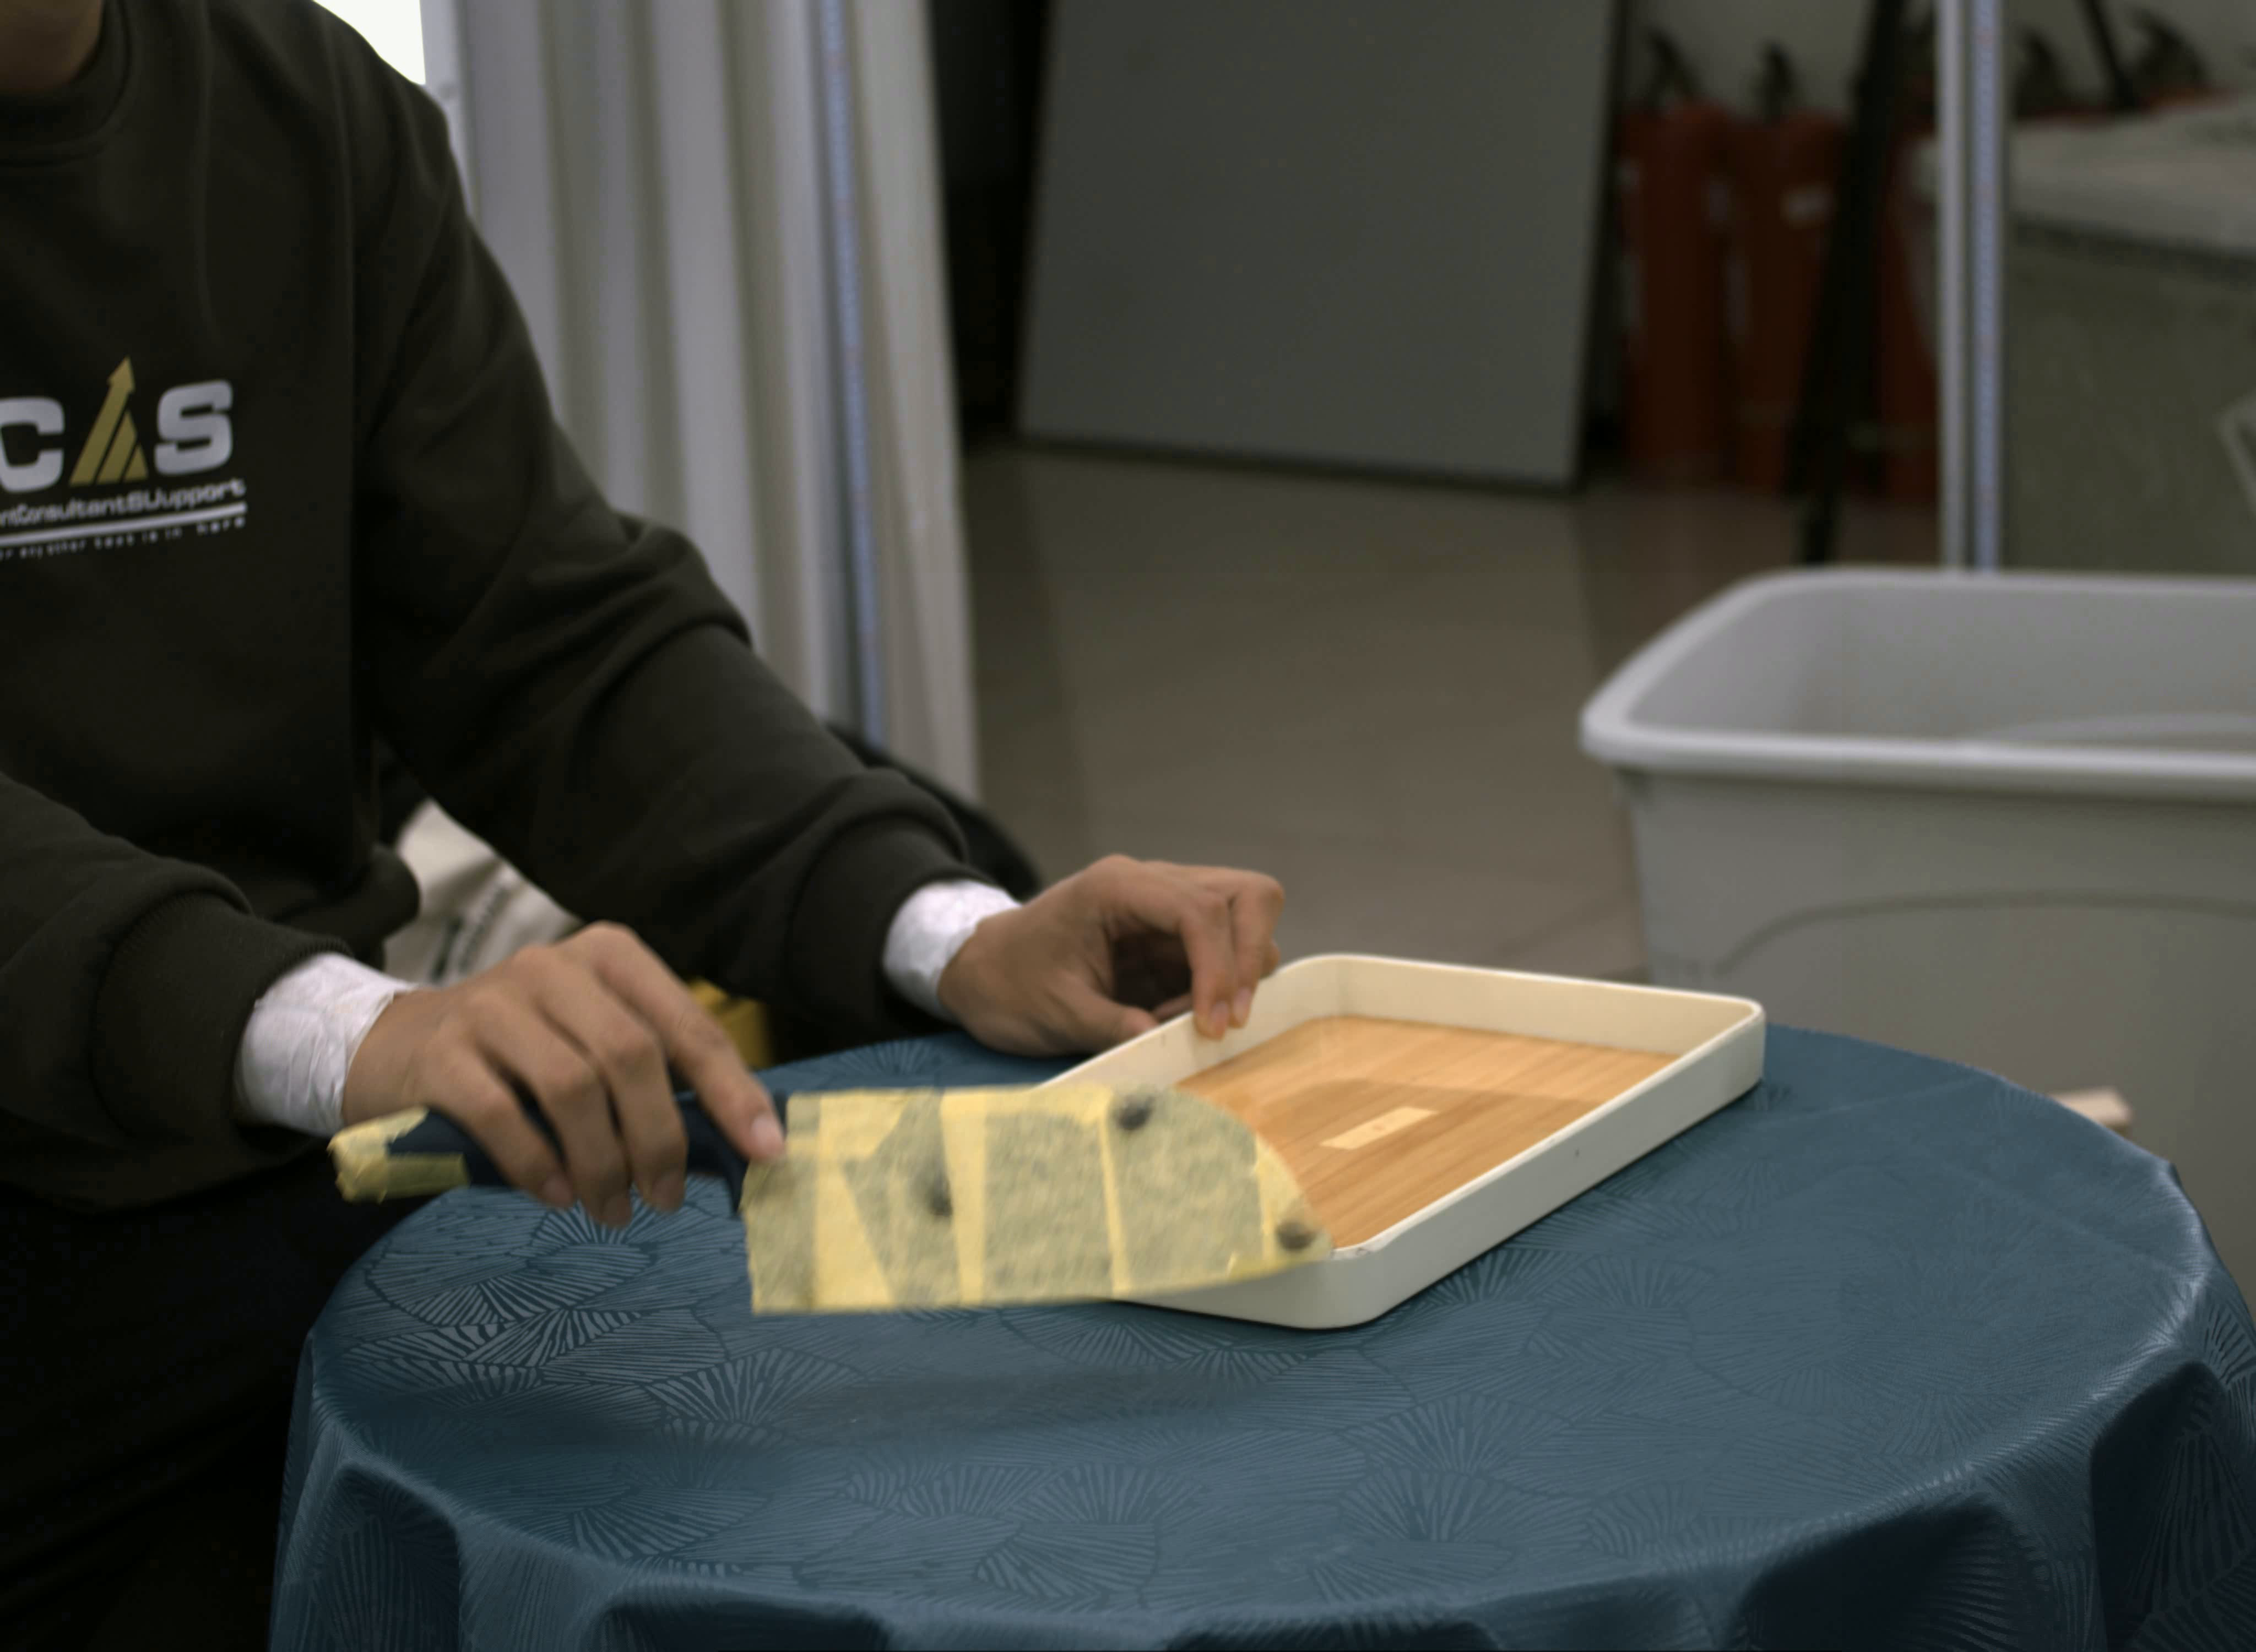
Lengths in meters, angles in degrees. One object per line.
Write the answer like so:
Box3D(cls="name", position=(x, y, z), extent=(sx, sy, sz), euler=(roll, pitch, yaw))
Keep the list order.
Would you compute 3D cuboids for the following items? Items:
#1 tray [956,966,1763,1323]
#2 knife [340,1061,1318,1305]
Box3D(cls="tray", position=(0.067, 0.101, 1.783), extent=(0.192, 0.028, 0.295), euler=(4, 15, 34))
Box3D(cls="knife", position=(-0.086, 0.104, 1.576), extent=(0.285, 0.027, 0.082), euler=(-1, 54, -2))
